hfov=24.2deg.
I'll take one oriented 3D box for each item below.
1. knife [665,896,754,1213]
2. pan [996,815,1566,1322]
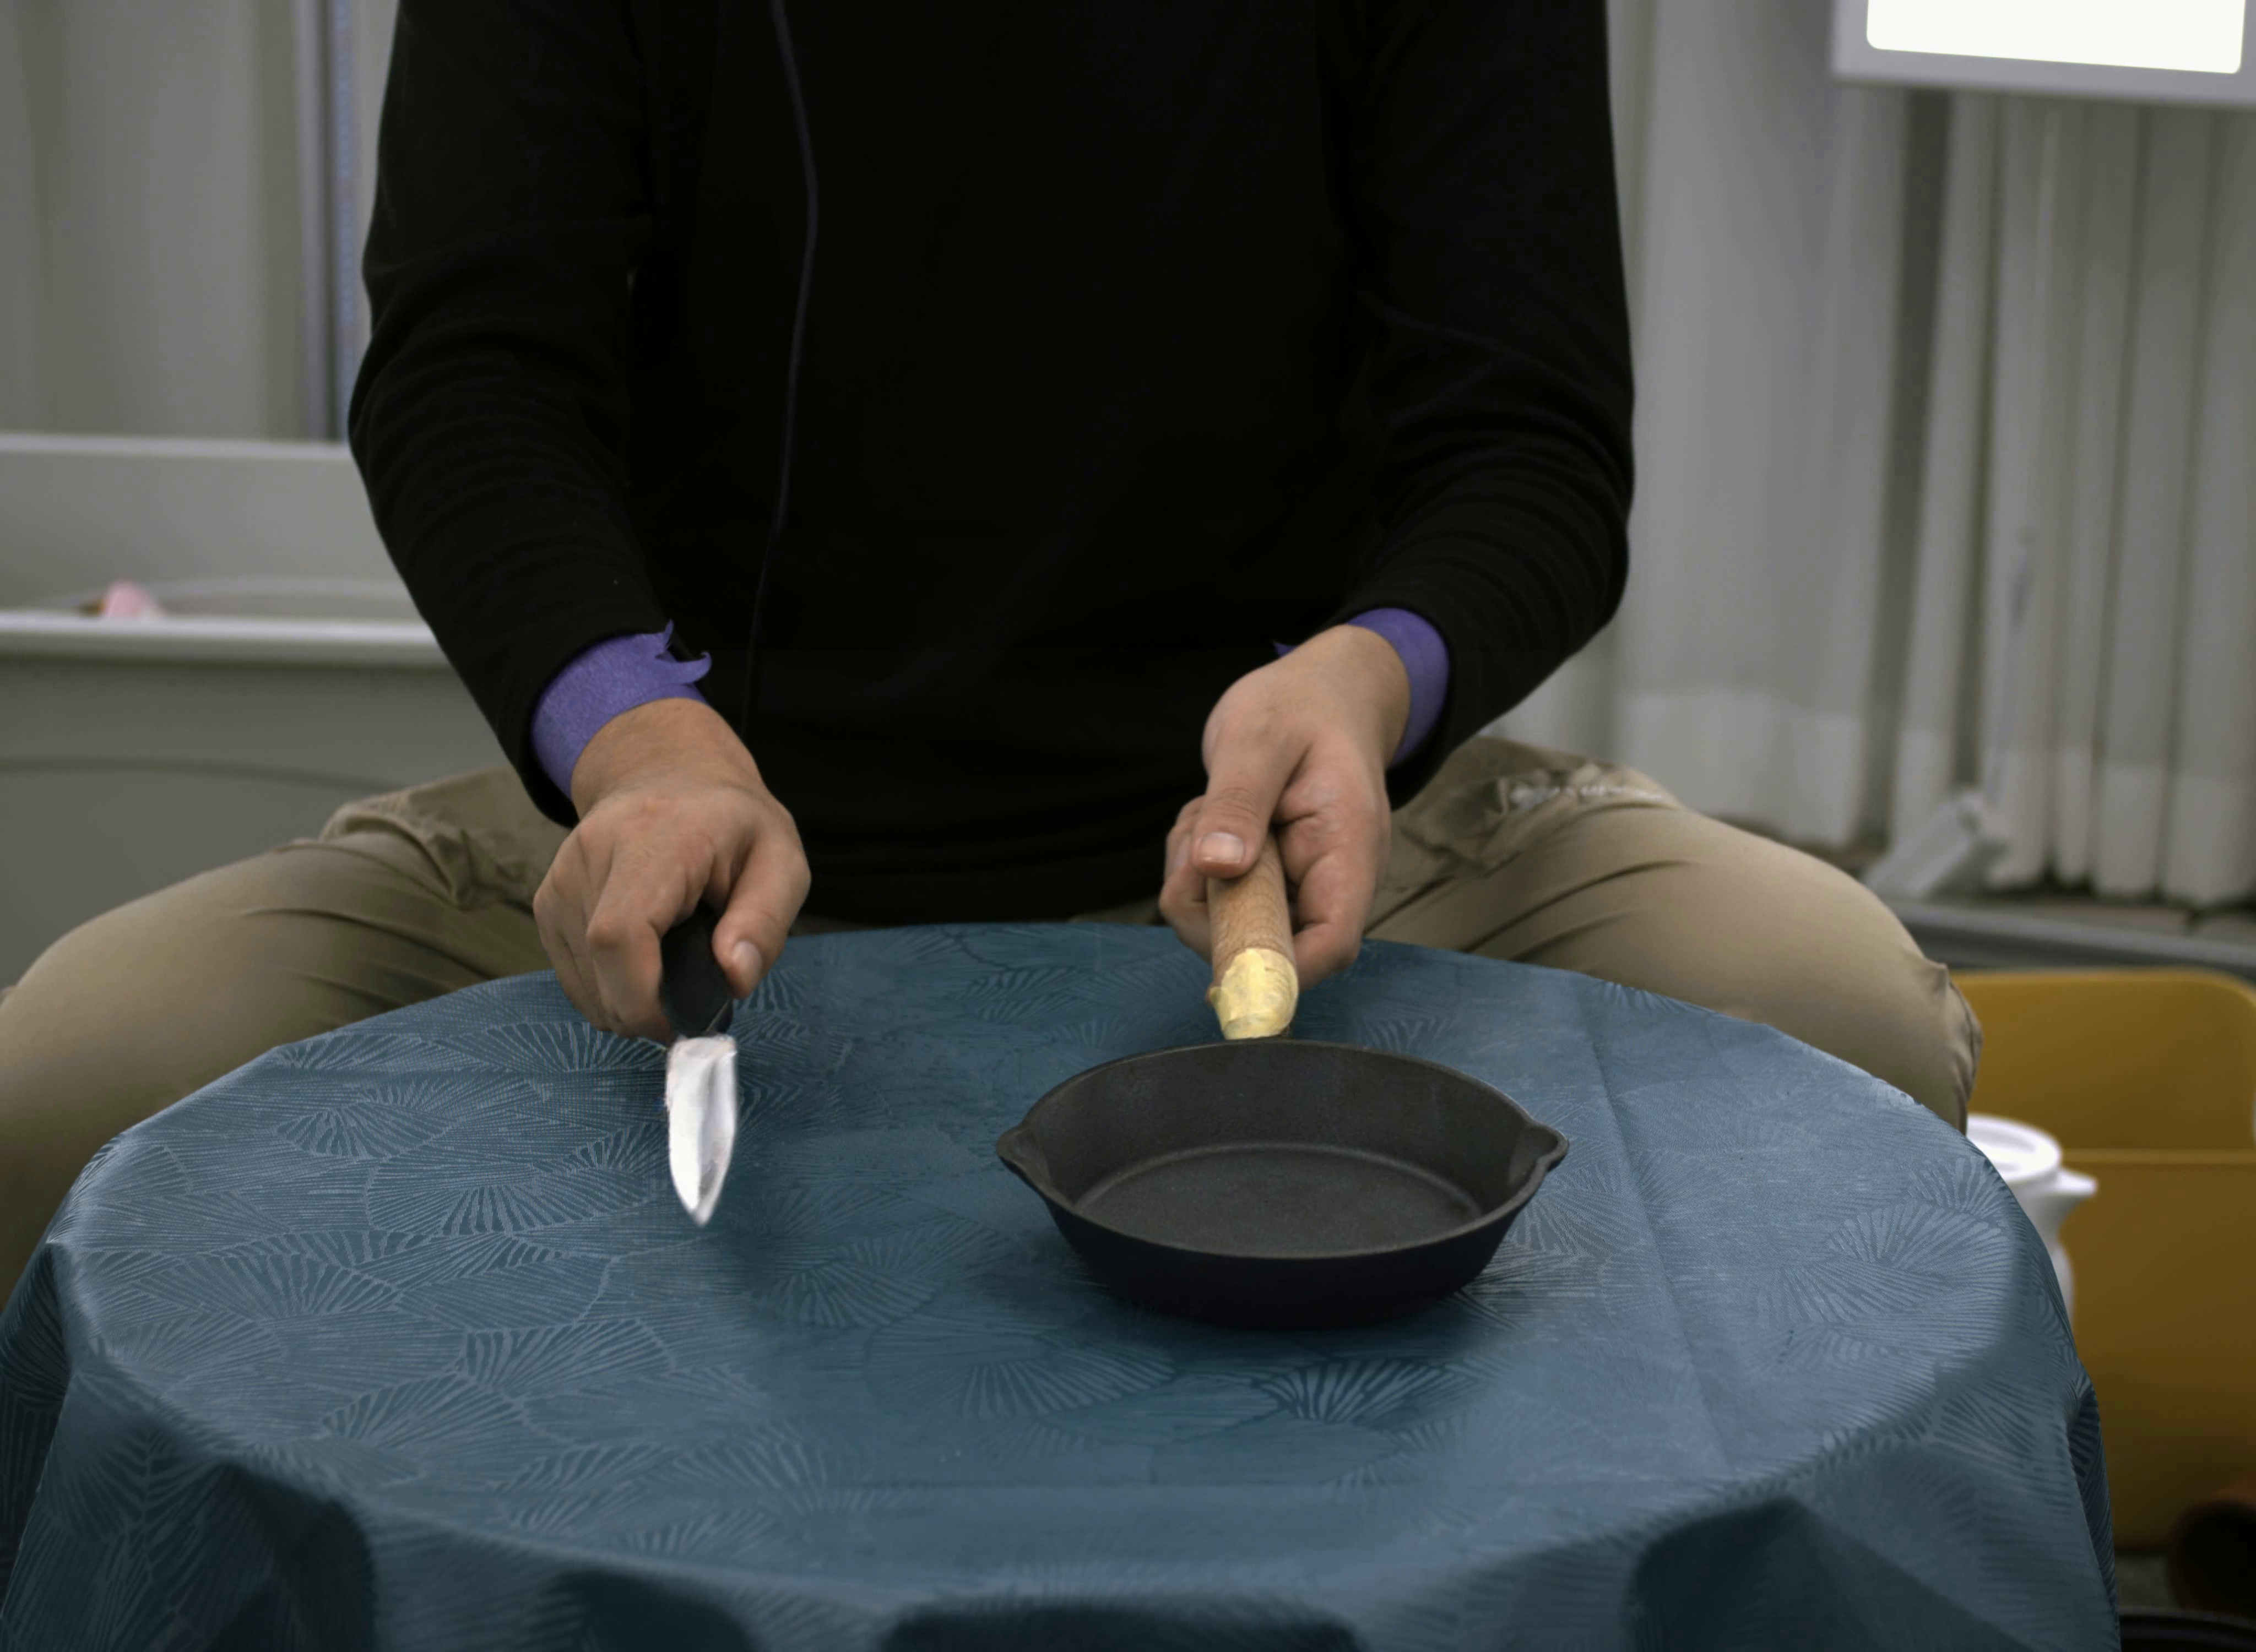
[{"bbox_3d":[-0.129,0.070,1.605,0.024,0.016,0.236,-17,21,0],"label":"knife"},{"bbox_3d":[0.045,0.072,1.635,0.168,0.050,0.322,1,20,0],"label":"pan"}]
